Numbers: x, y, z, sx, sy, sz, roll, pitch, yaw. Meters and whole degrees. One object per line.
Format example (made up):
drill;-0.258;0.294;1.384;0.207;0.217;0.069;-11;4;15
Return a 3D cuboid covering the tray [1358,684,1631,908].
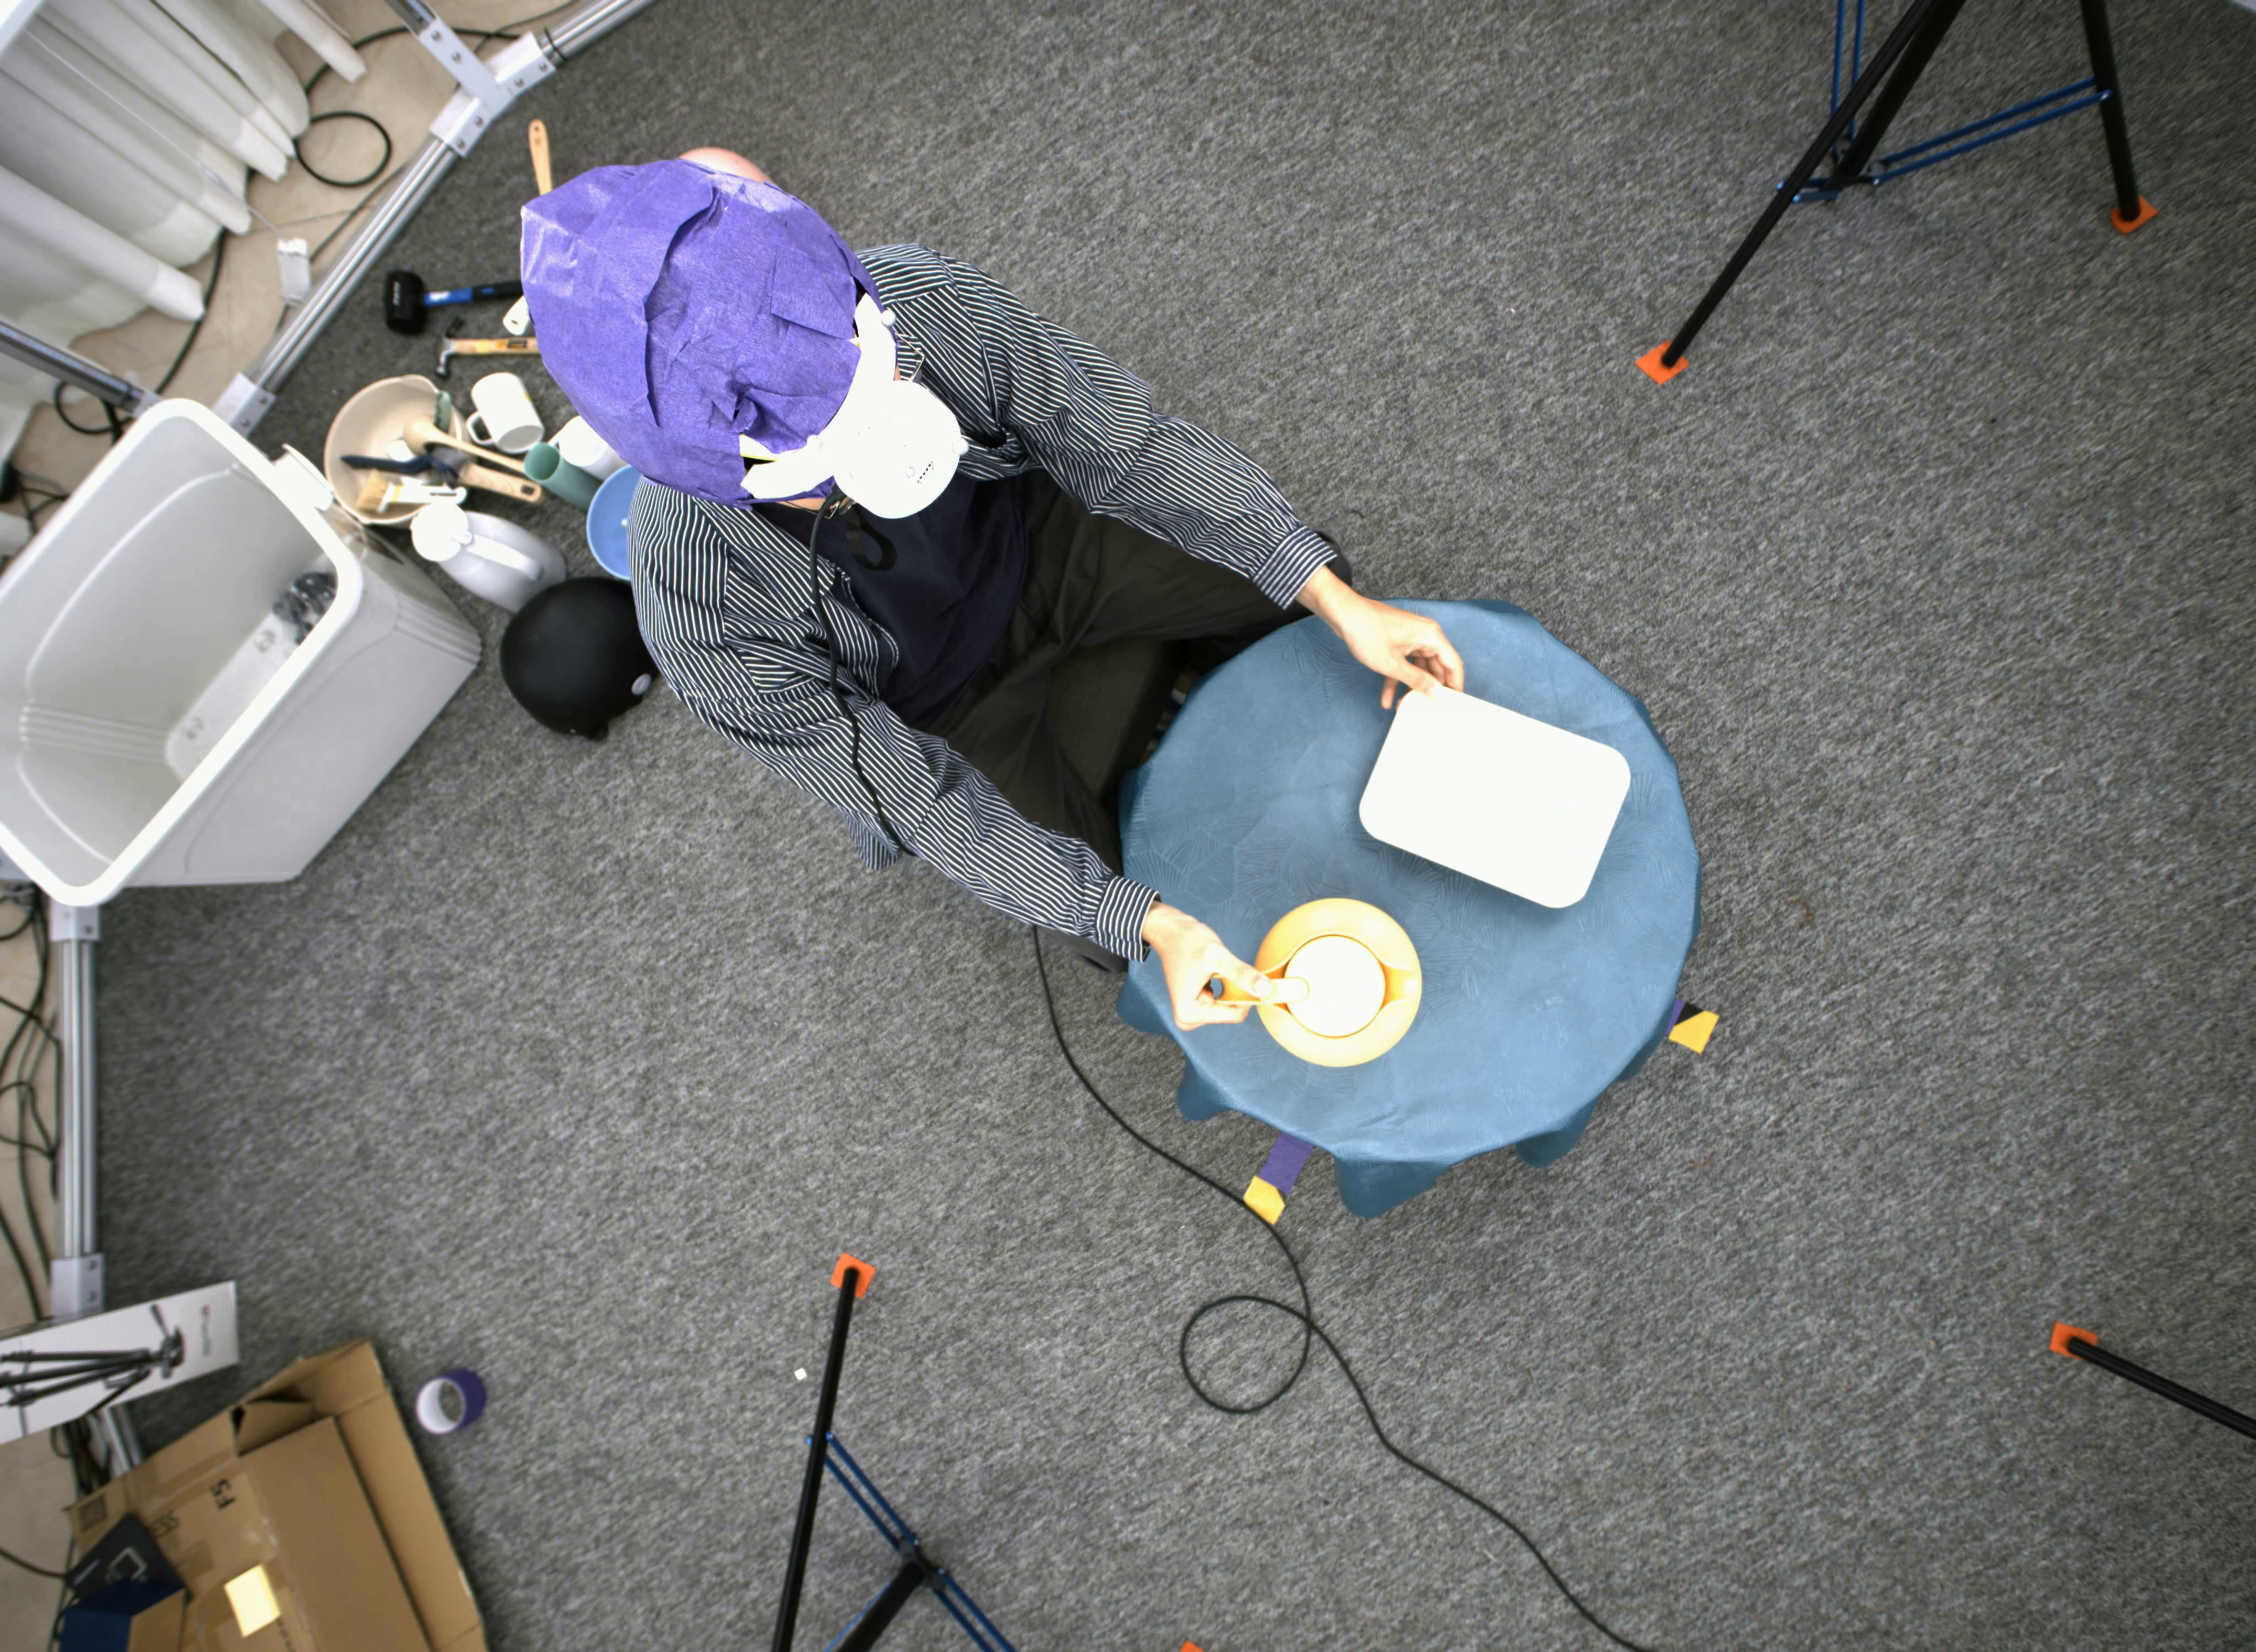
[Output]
tray;0.364;-0.033;1.371;0.239;0.017;0.171;22;92;13

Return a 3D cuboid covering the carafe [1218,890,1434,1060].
carafe;0.191;0.141;1.326;0.203;0.260;0.163;-6;85;9
